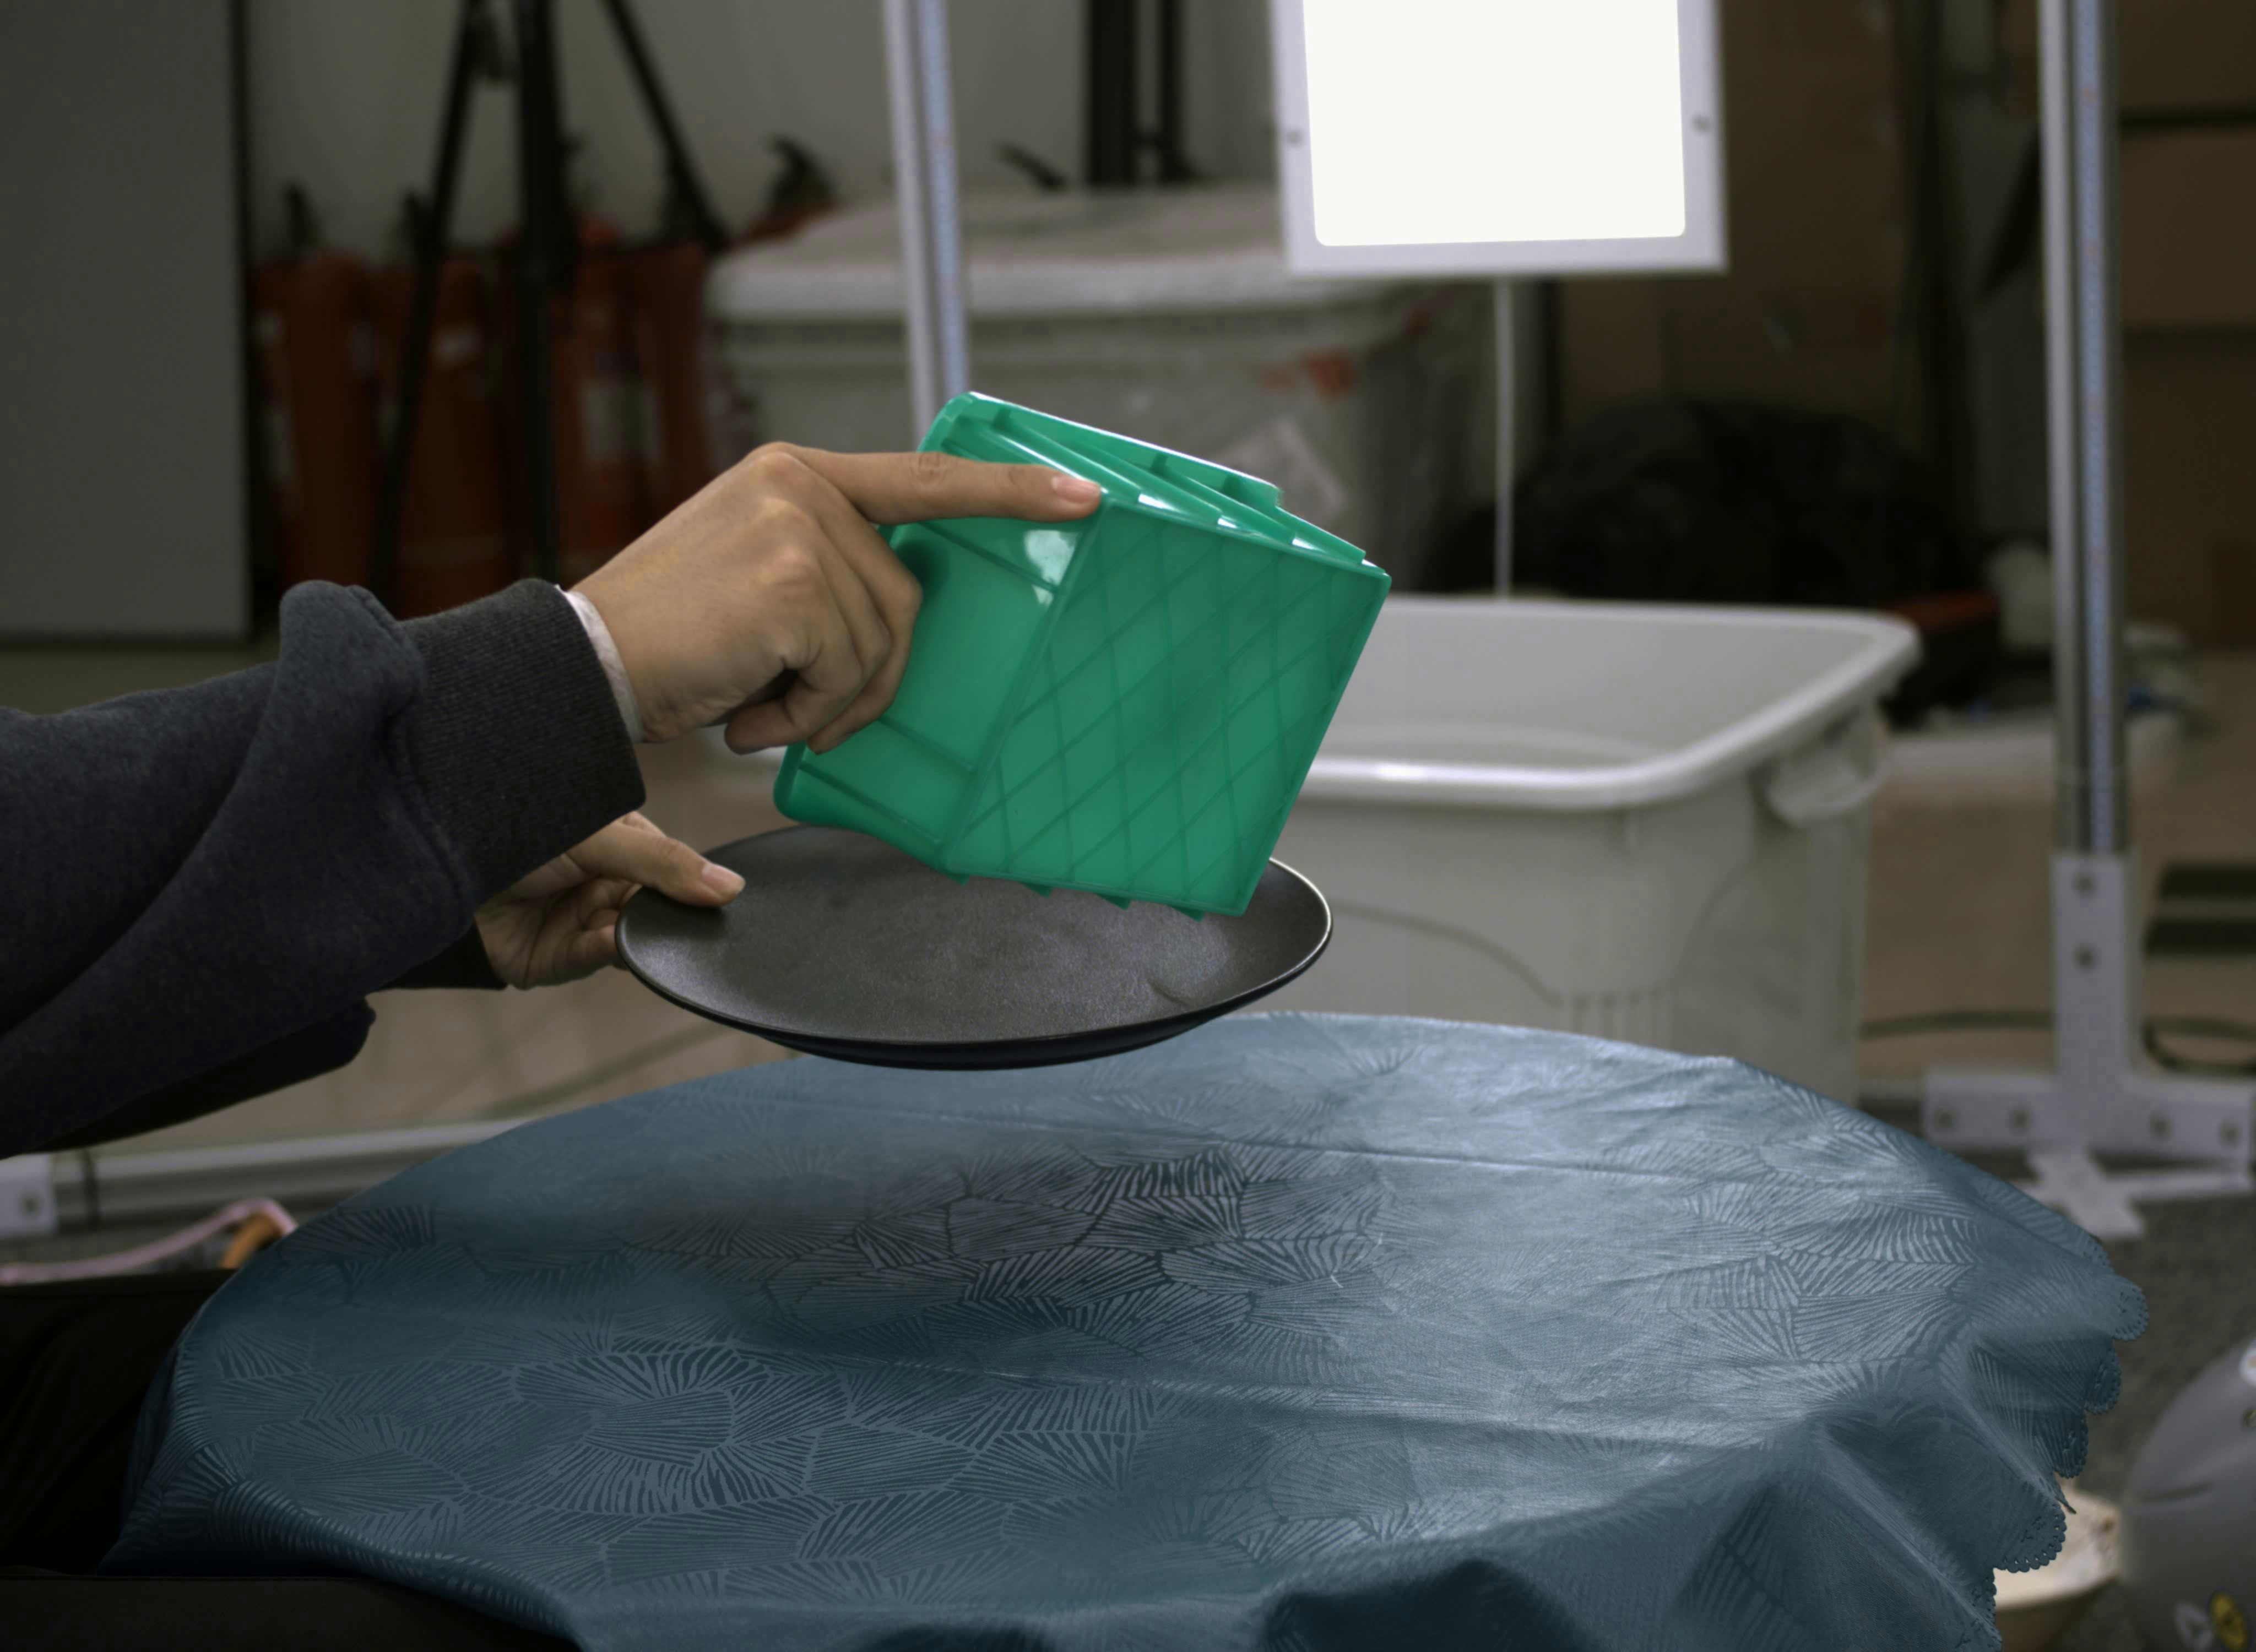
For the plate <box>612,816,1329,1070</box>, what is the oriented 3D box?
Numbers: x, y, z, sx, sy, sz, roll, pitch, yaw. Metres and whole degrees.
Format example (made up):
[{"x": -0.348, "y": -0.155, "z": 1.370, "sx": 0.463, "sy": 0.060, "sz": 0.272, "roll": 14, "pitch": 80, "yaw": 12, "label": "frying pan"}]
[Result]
[{"x": -0.053, "y": 0.041, "z": 1.864, "sx": 0.243, "sy": 0.023, "sz": 0.244, "roll": -2, "pitch": 18, "yaw": -1, "label": "plate"}]

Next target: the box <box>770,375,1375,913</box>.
[{"x": -0.010, "y": -0.047, "z": 1.656, "sx": 0.066, "sy": 0.139, "sz": 0.206, "roll": 26, "pitch": 7, "yaw": 28, "label": "box"}]
